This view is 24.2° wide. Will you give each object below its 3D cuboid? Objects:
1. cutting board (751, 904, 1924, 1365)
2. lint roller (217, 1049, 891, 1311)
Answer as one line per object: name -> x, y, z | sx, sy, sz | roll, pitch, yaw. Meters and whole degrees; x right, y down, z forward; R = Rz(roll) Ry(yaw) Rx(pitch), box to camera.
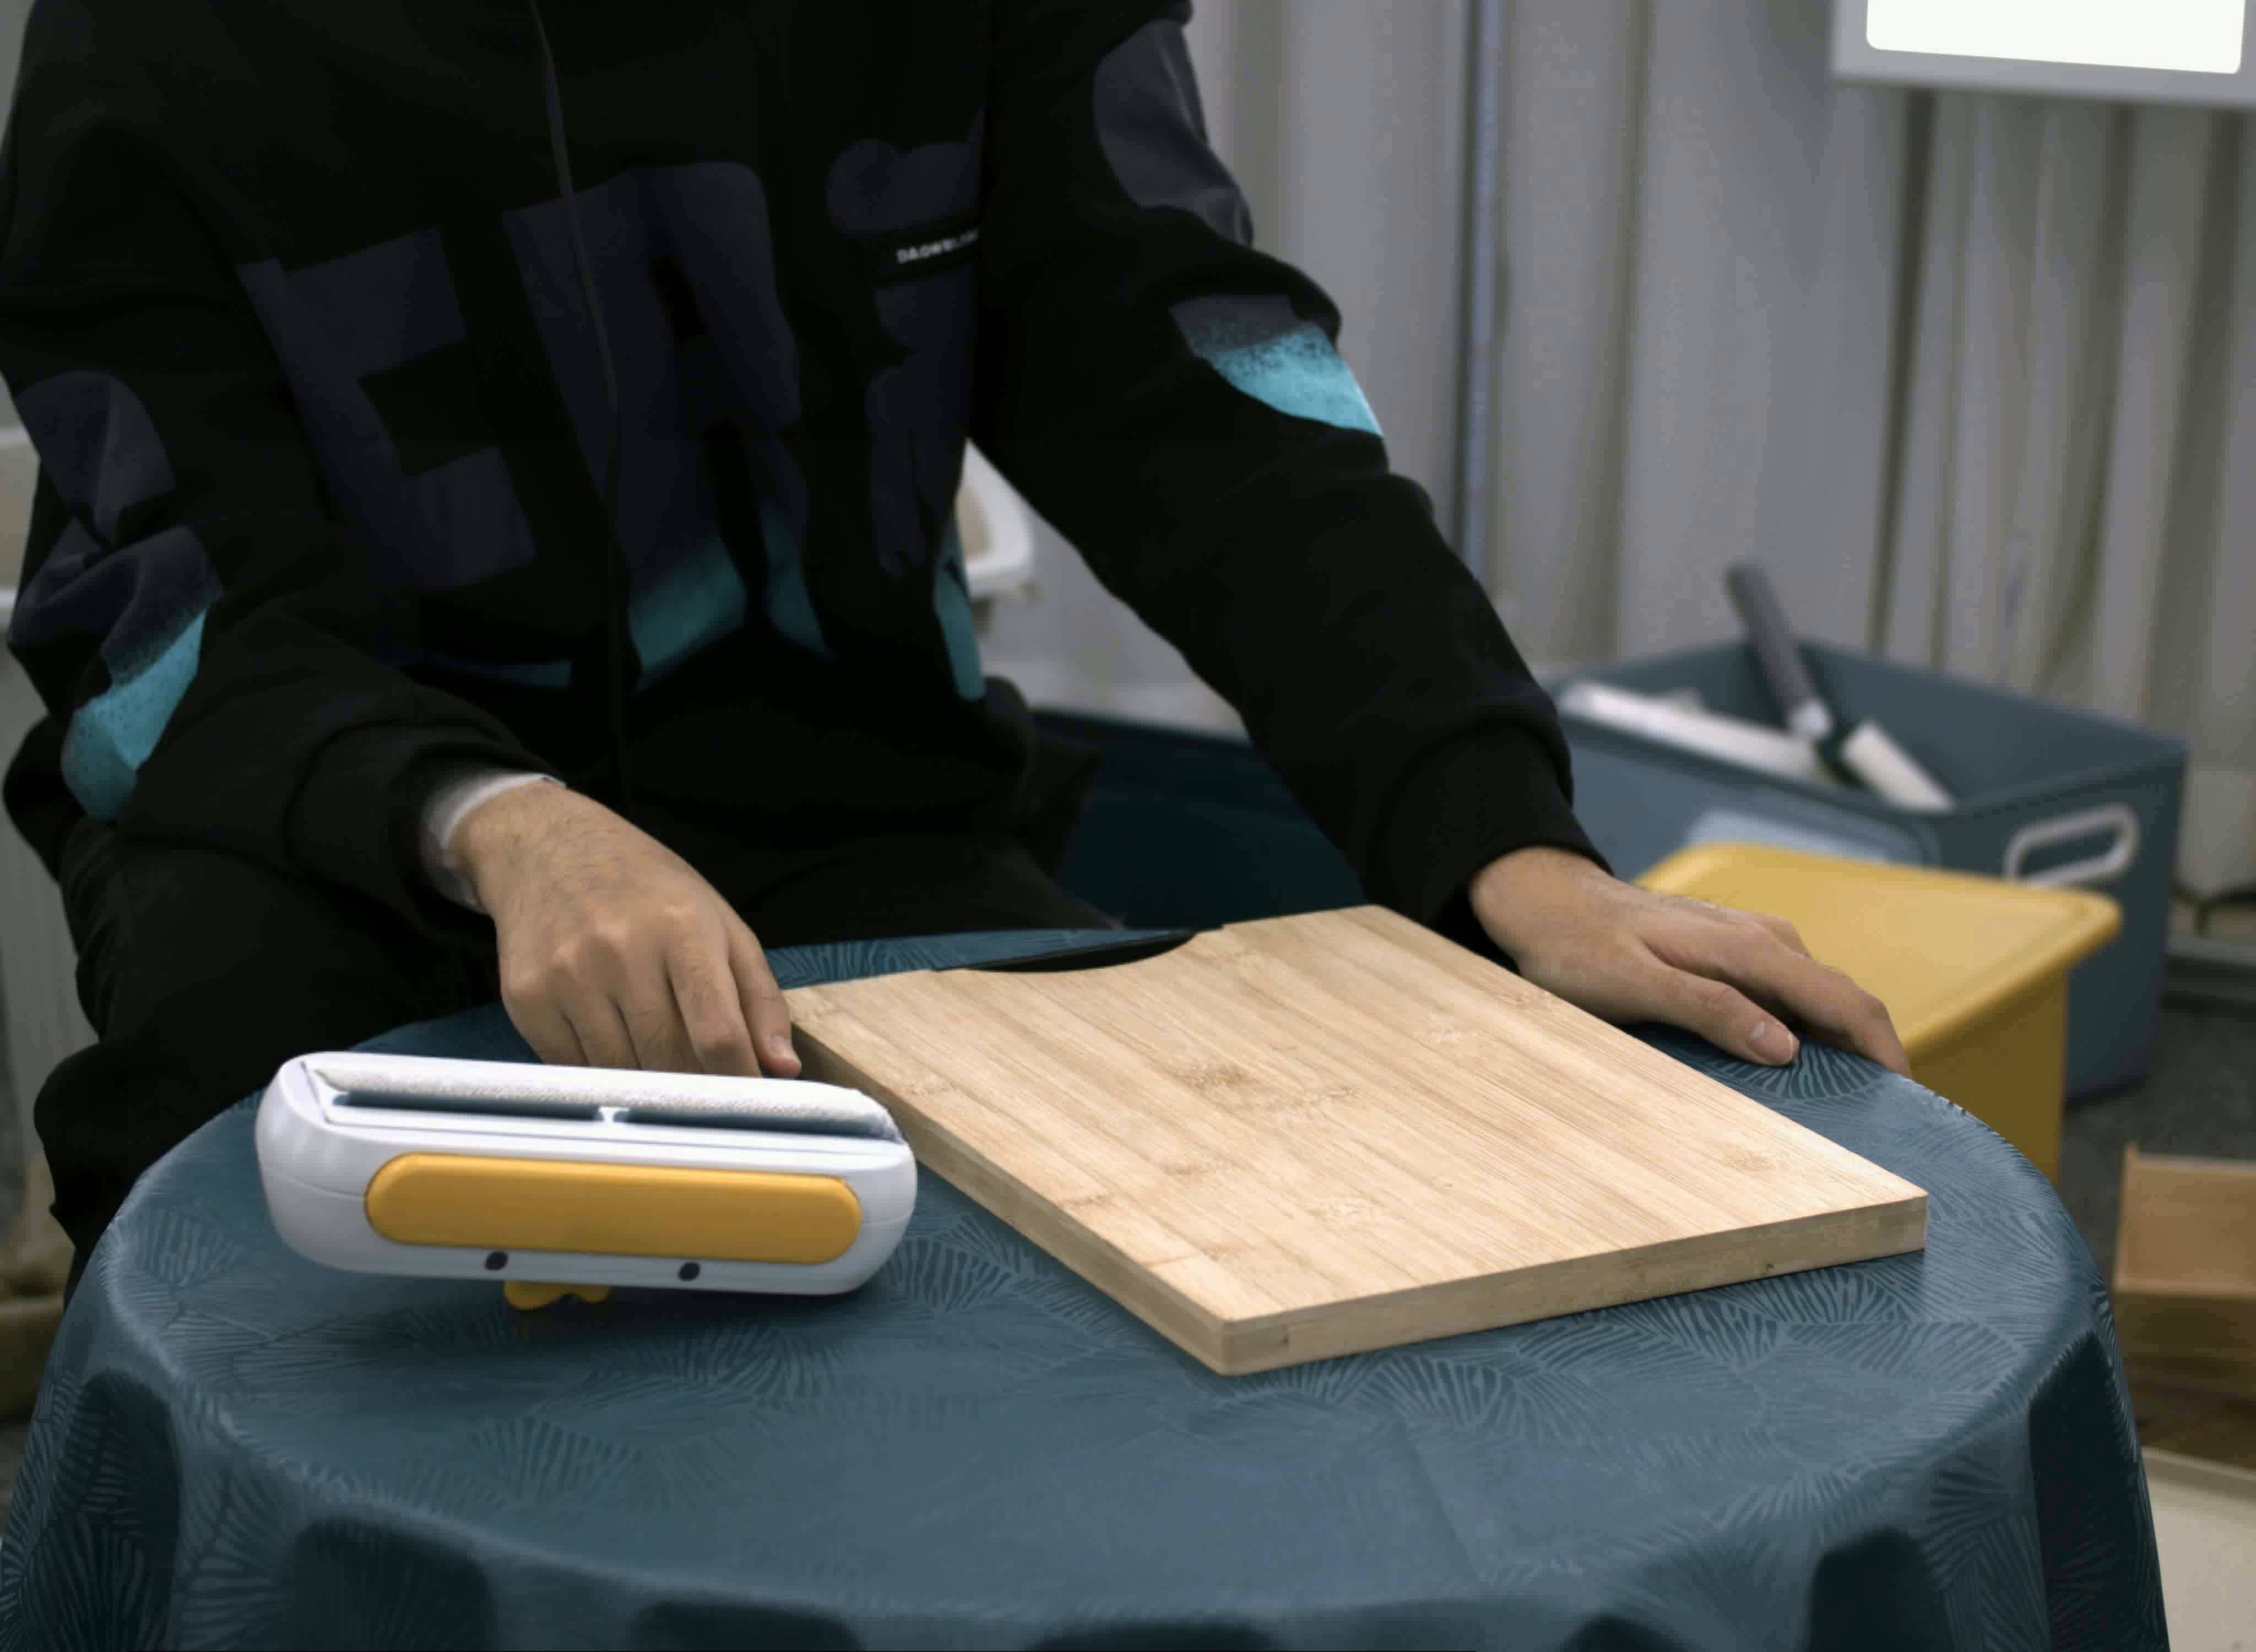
cutting board -> 0.056, 0.091, 1.669 | 0.252, 0.024, 0.344 | -7, 17, -27
lint roller -> -0.179, 0.092, 1.559 | 0.193, 0.074, 0.190 | 1, 13, -18
